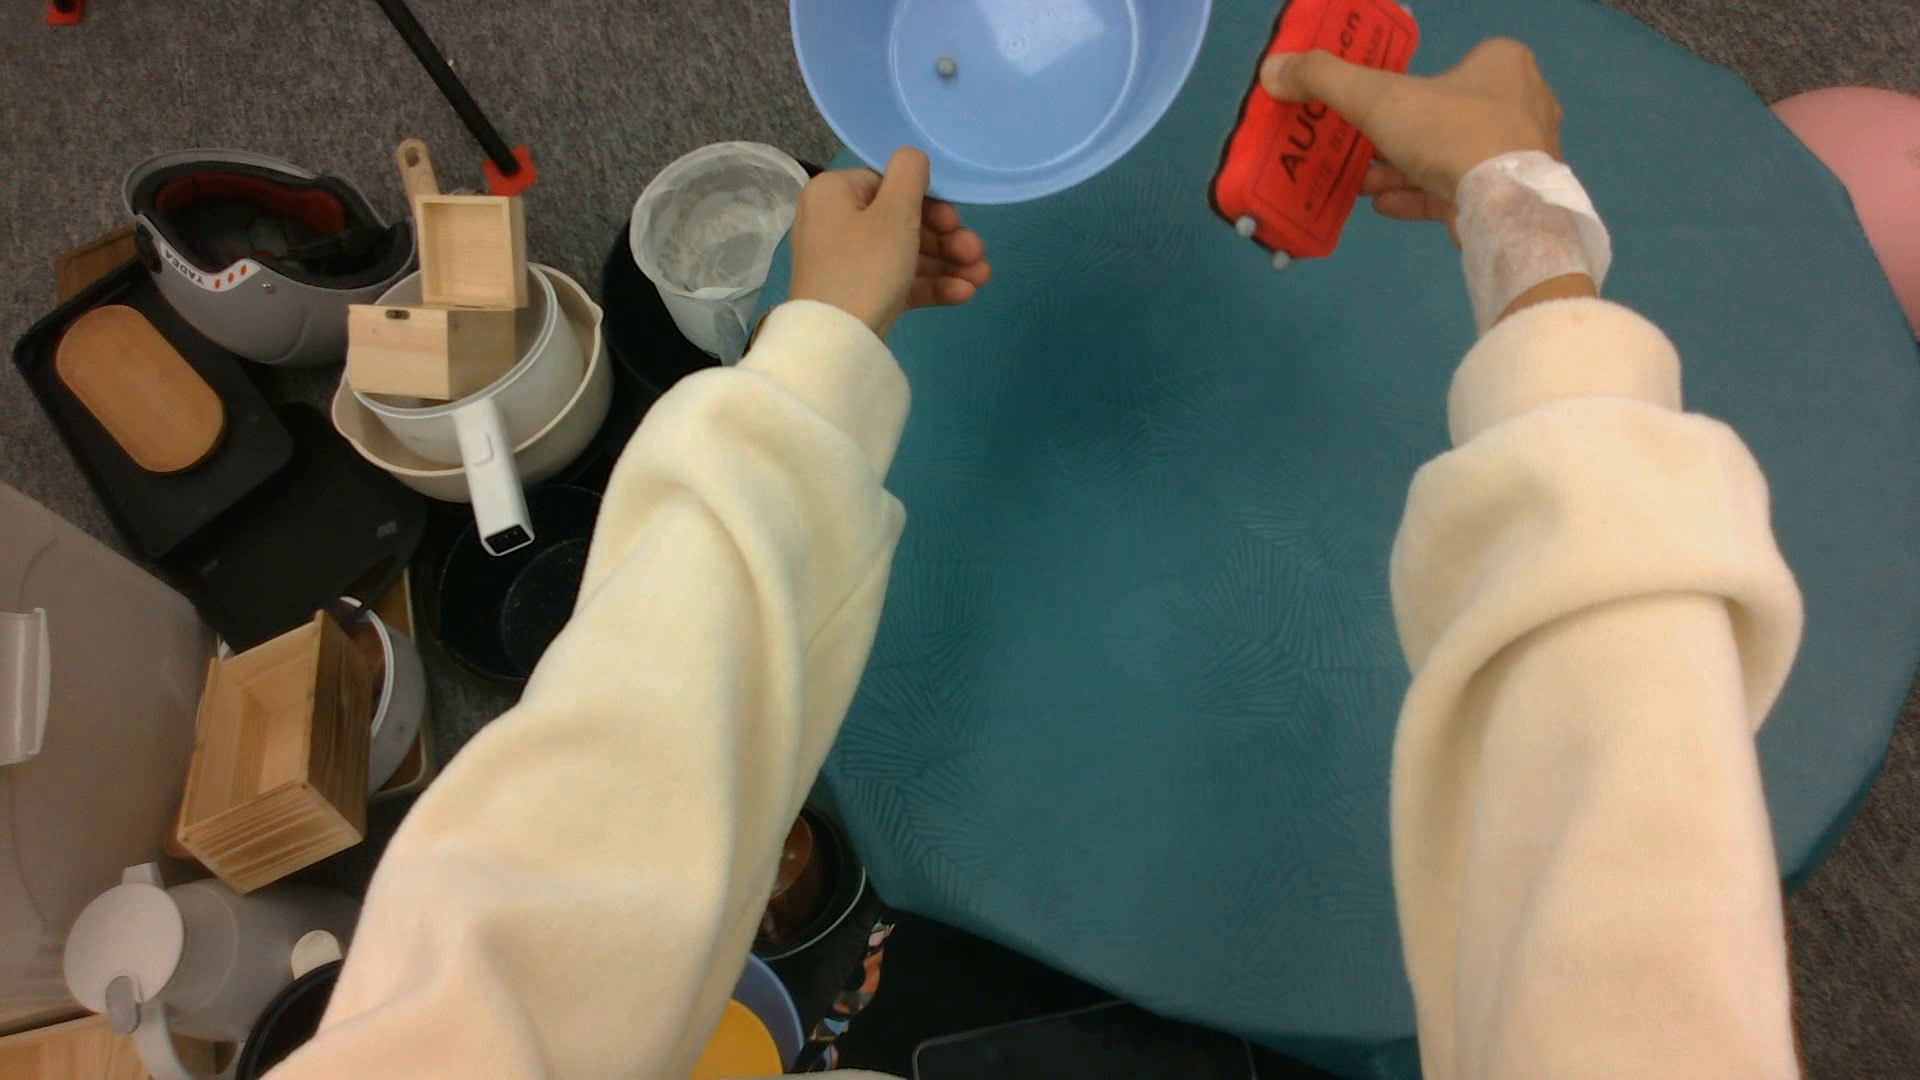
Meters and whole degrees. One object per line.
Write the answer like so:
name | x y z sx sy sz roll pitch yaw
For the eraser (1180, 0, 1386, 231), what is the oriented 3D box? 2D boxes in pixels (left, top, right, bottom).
eraser | 0.130 -0.182 0.548 0.023 0.059 0.108 16 84 54

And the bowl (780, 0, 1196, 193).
bowl | 0.015 -0.230 0.599 0.176 0.070 0.176 0 89 7
